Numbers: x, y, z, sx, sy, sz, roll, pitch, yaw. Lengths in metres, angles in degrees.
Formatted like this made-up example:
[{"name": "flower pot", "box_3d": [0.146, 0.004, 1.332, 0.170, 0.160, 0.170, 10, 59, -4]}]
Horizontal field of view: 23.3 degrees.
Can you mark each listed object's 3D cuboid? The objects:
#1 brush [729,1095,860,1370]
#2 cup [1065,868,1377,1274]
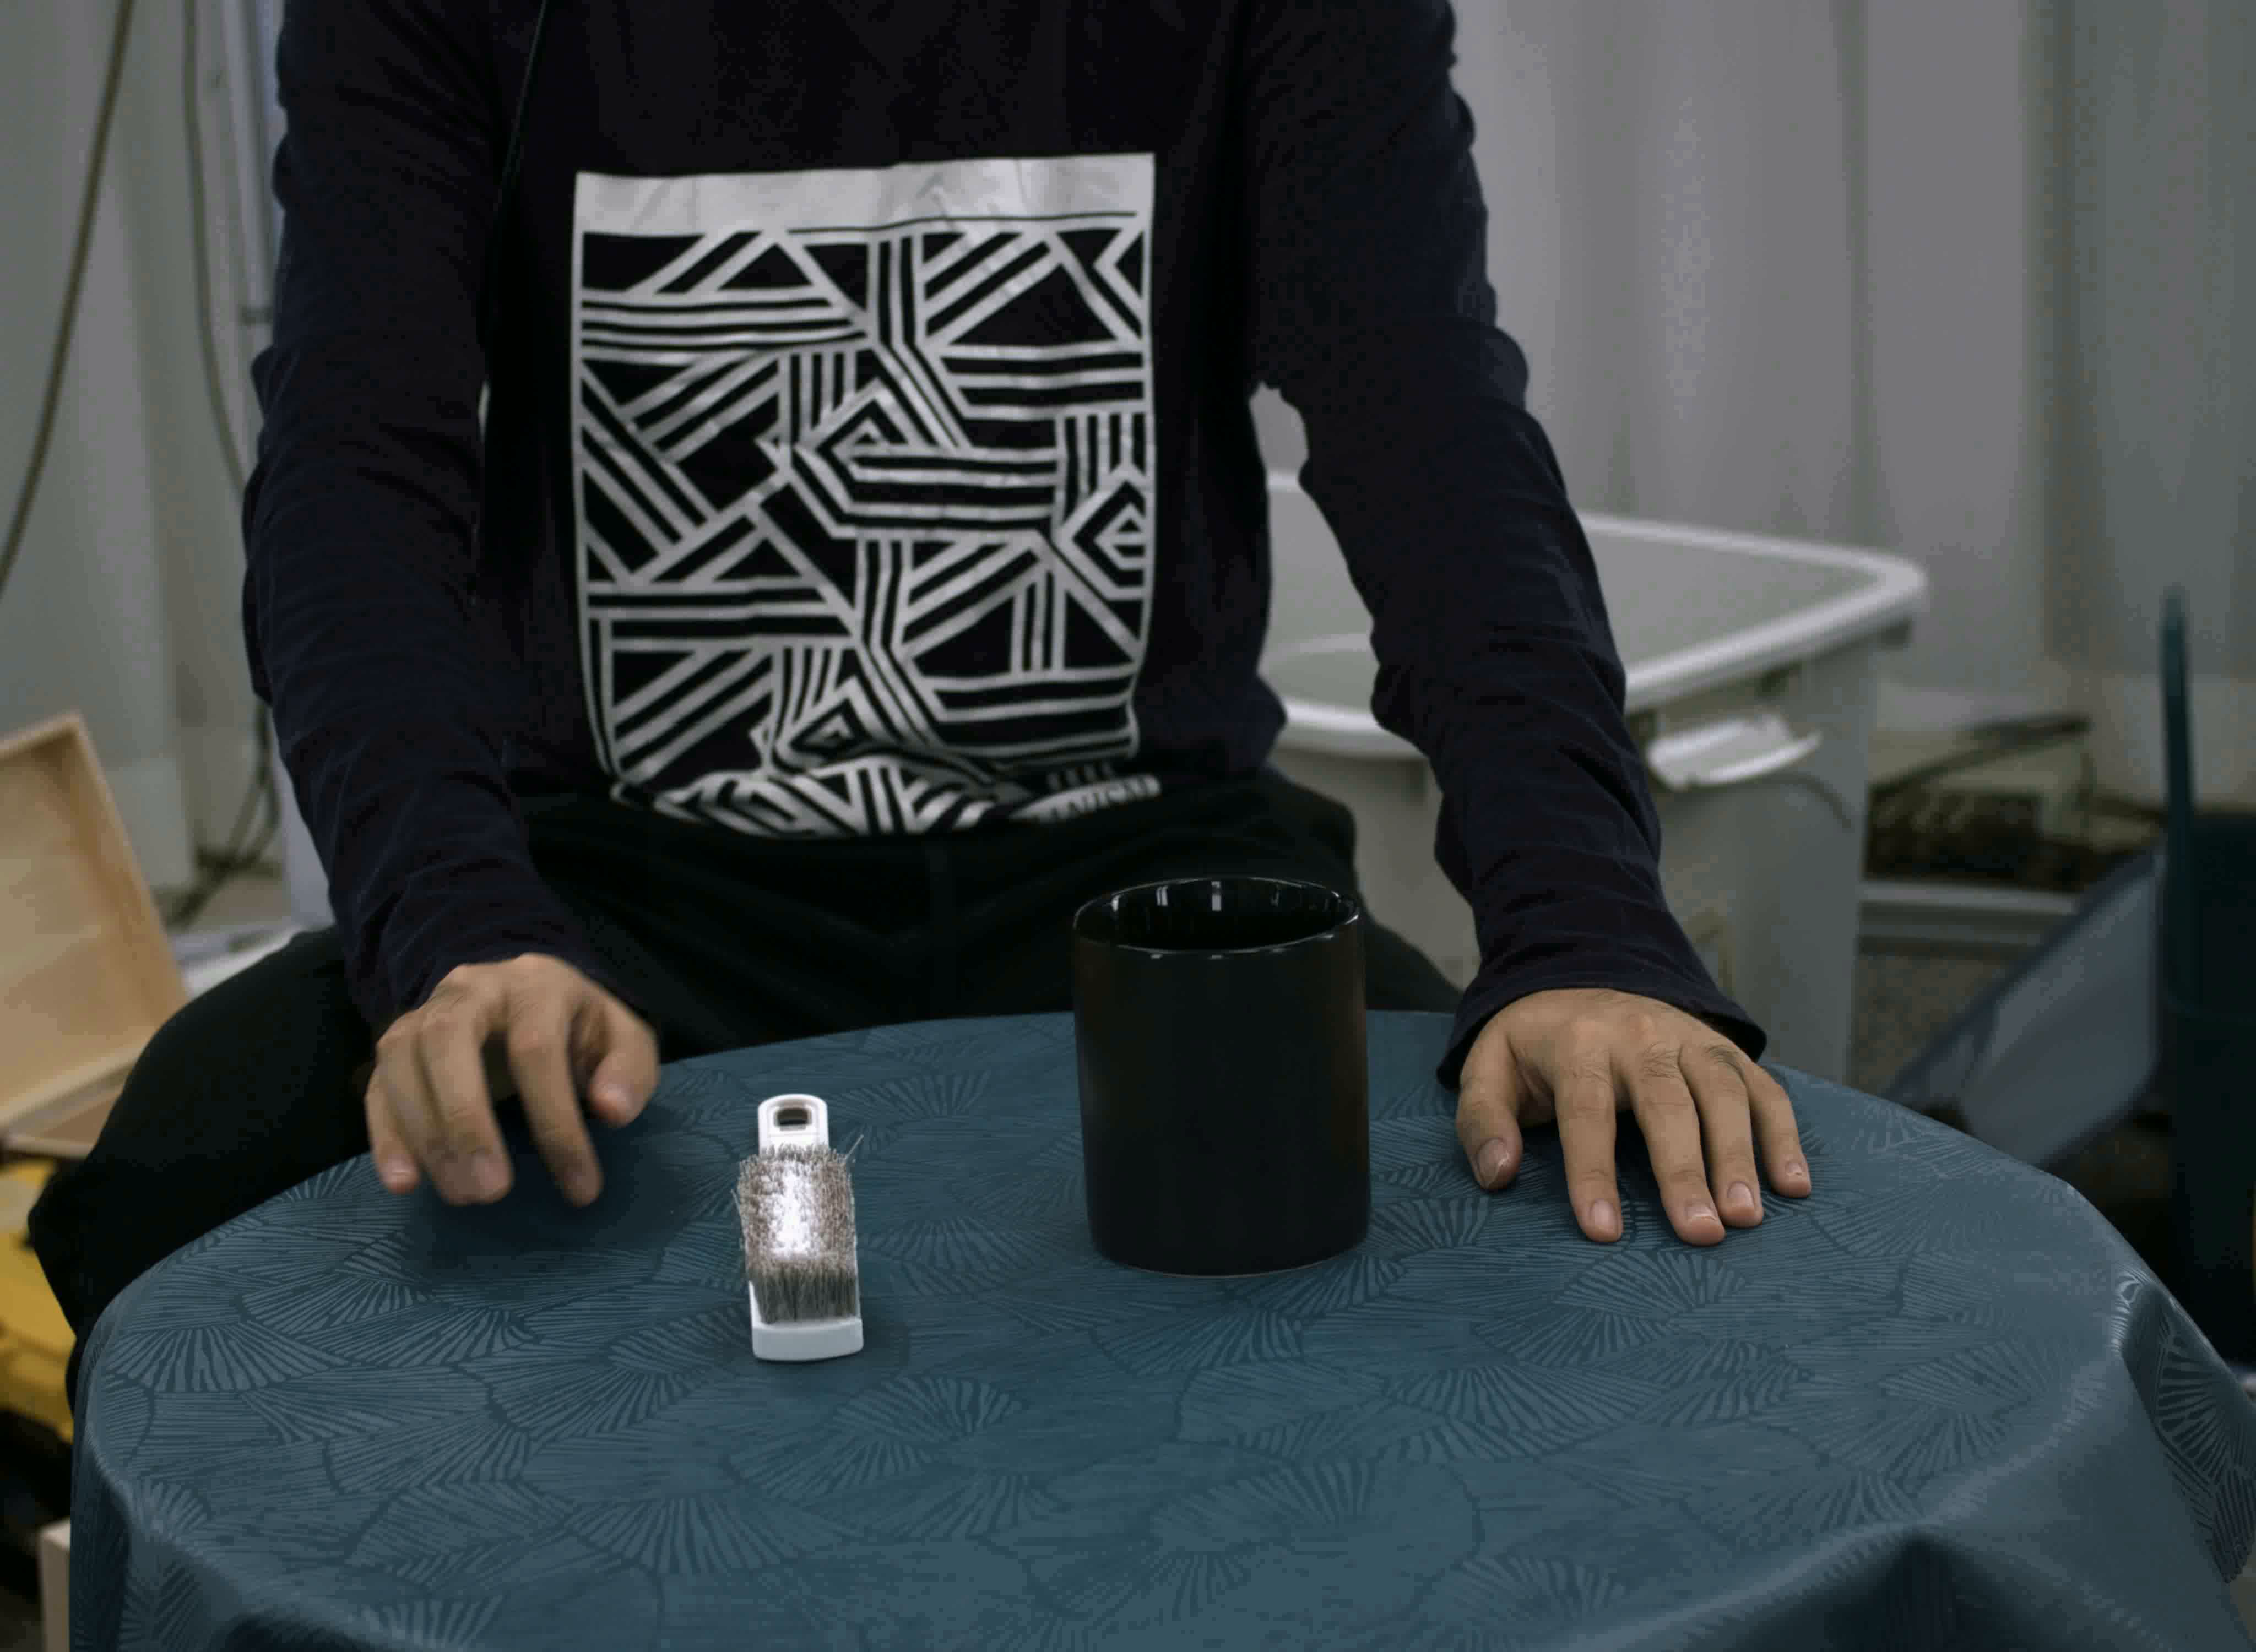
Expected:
[{"name": "brush", "box_3d": [-0.099, 0.105, 1.681, 0.034, 0.050, 0.245, -7, 15, 0]}, {"name": "cup", "box_3d": [0.029, 0.070, 1.679, 0.088, 0.105, 0.124, -5, 13, 2]}]
